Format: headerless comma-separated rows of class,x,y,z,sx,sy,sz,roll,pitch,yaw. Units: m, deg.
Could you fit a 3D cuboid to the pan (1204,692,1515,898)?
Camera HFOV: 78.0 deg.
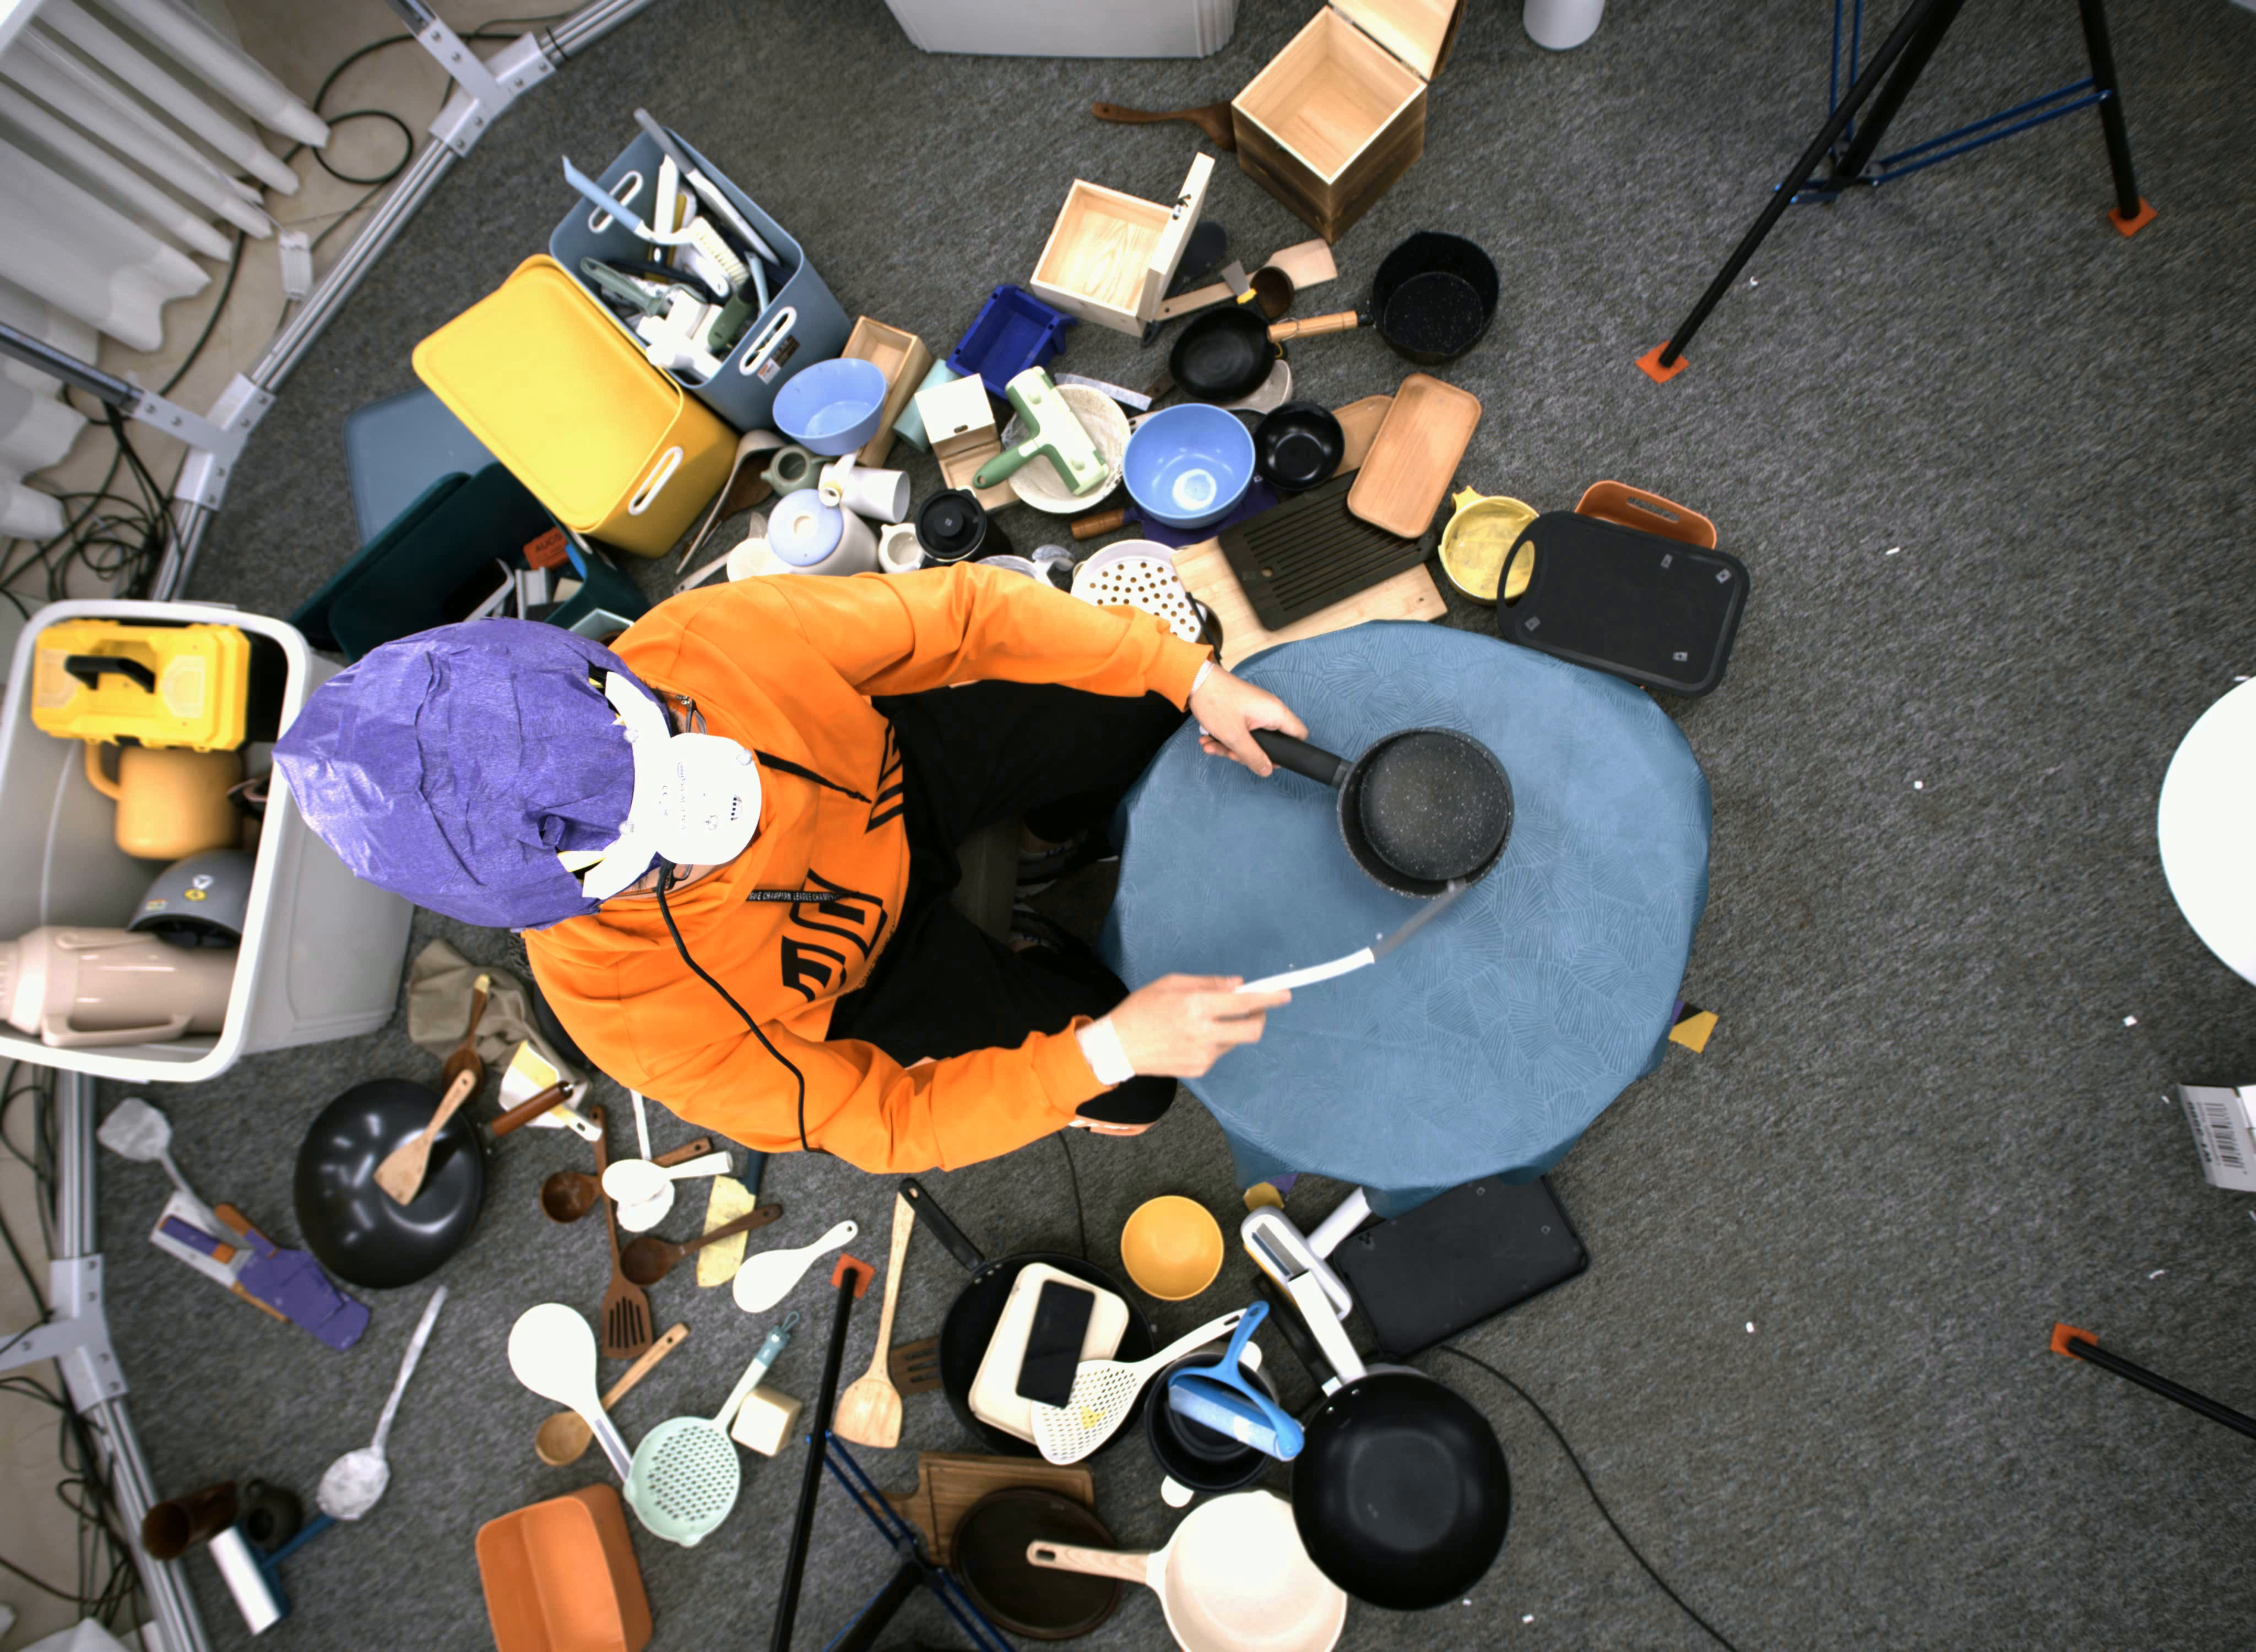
pan,0.234,-0.054,1.401,0.328,0.085,0.174,27,107,13

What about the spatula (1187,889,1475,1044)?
spatula,0.190,0.128,1.271,0.290,0.059,0.032,-26,70,11
